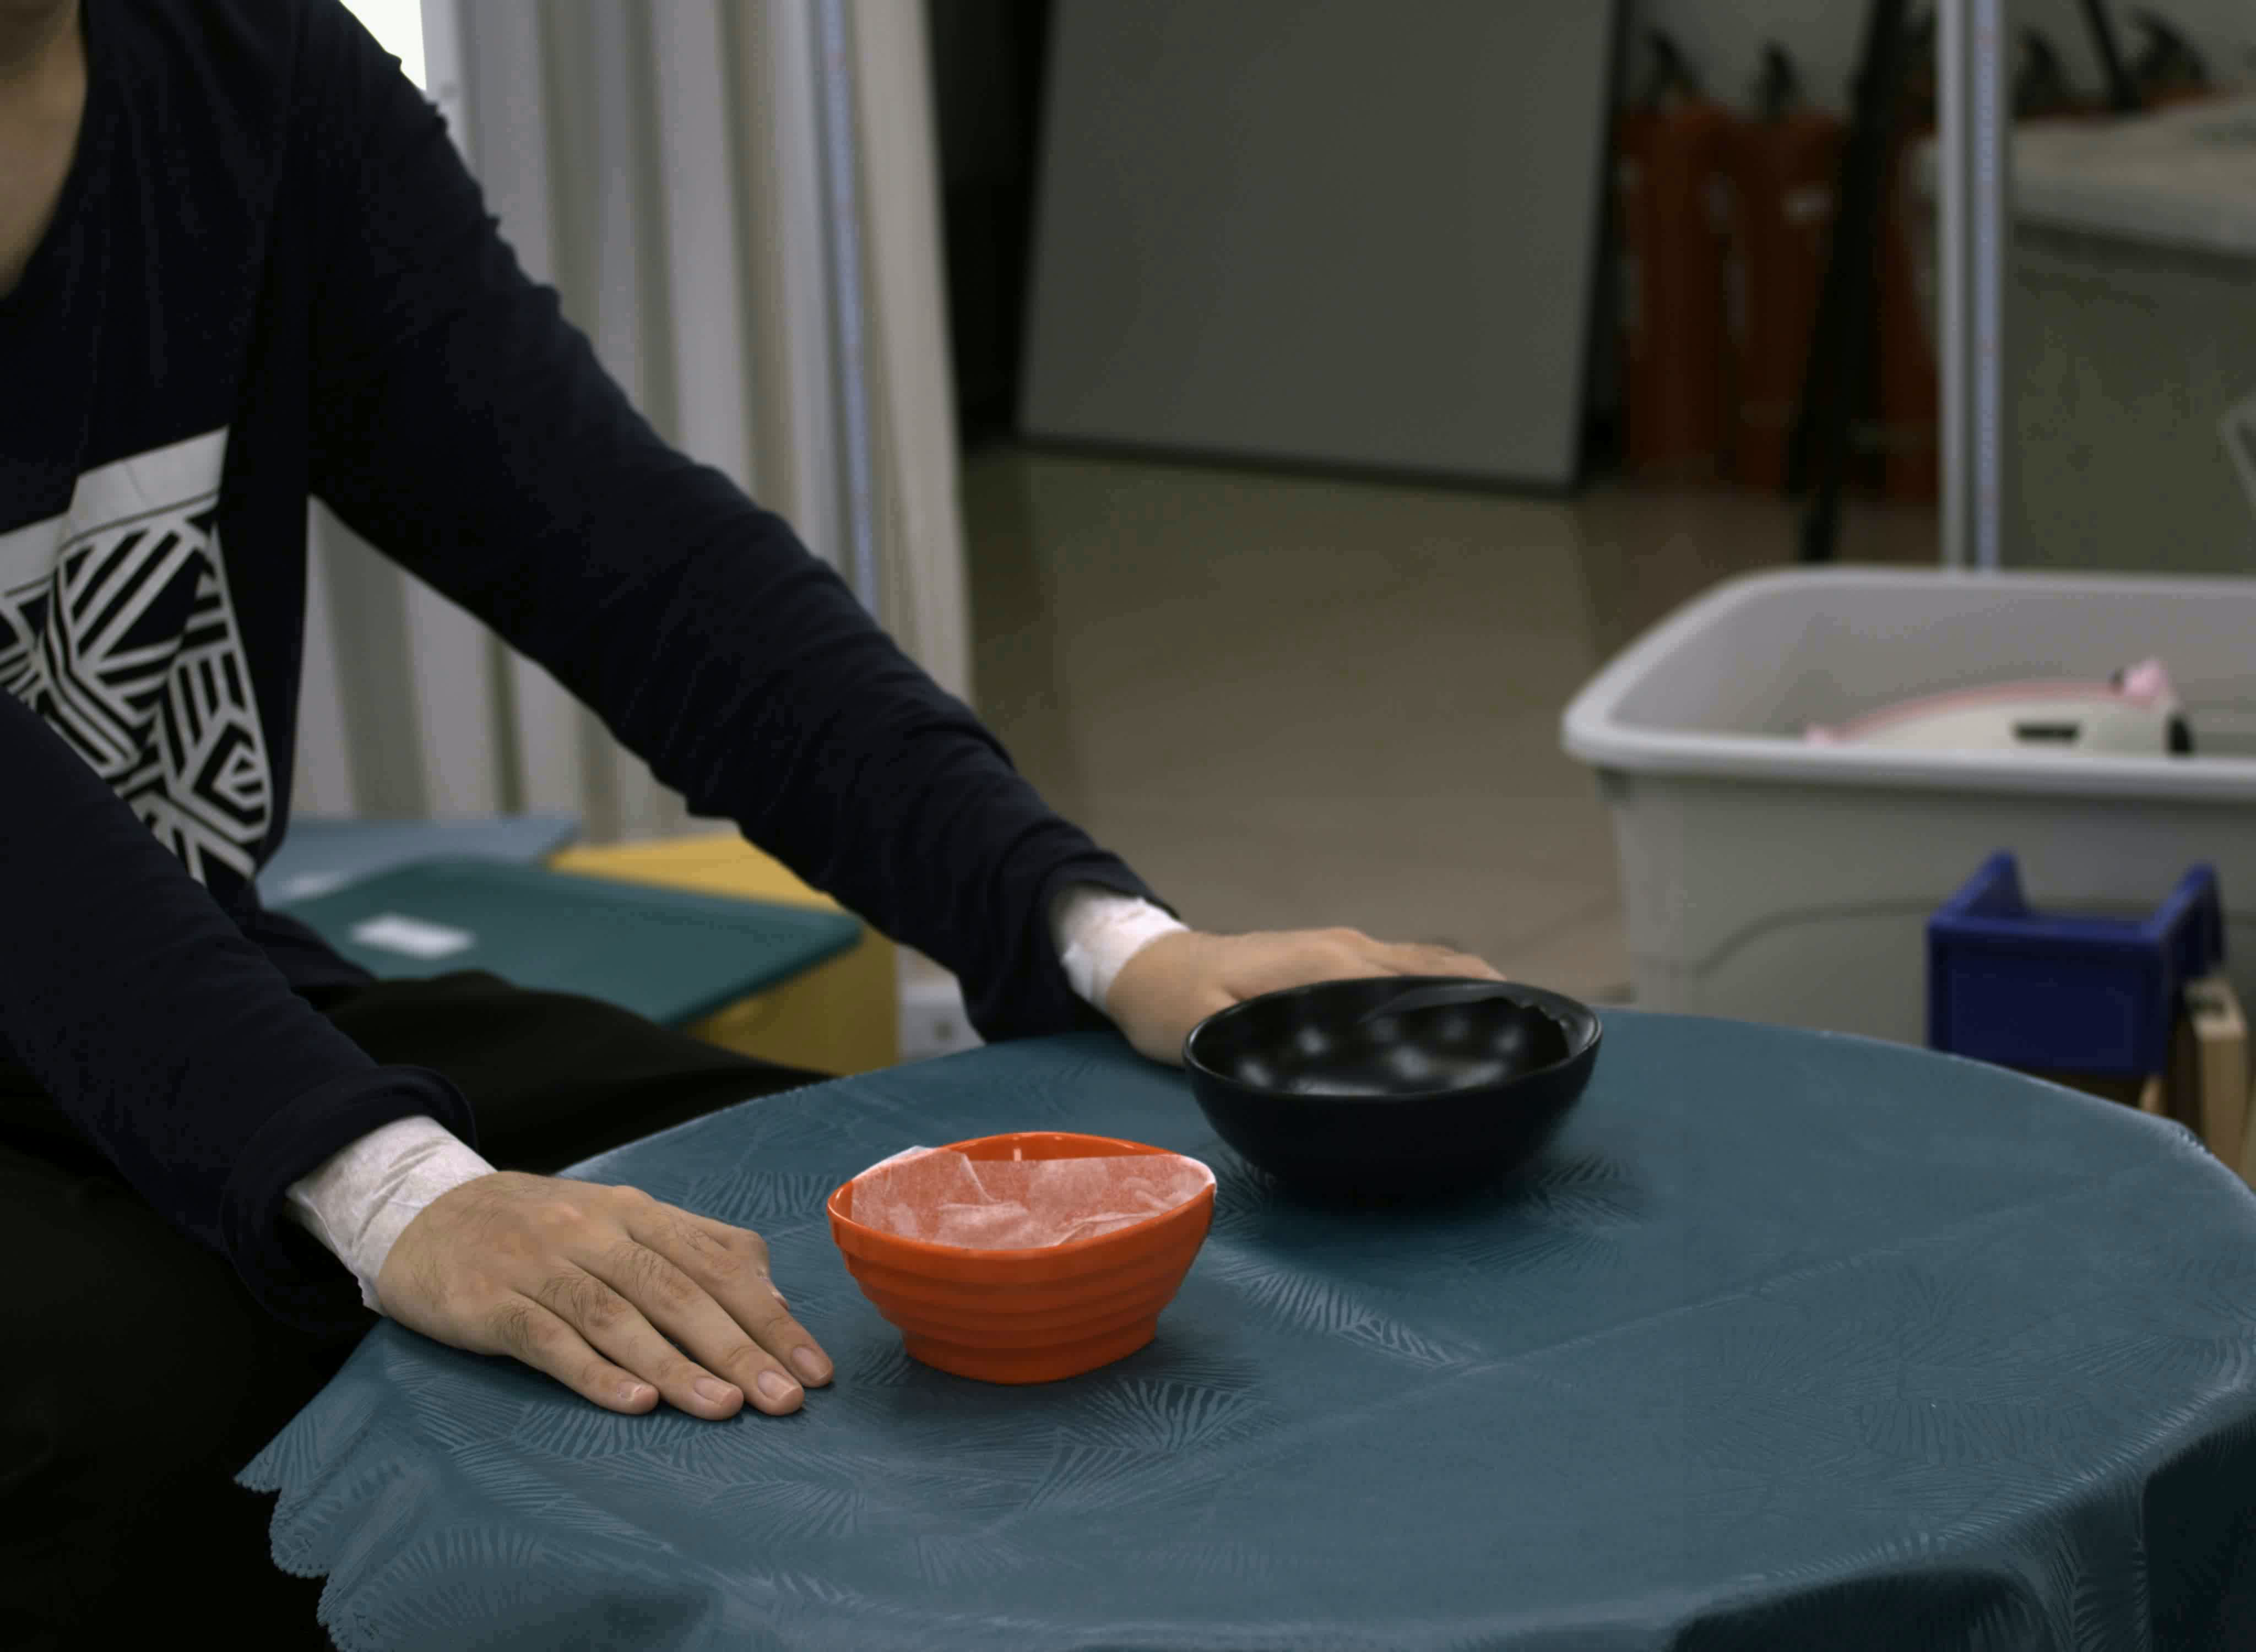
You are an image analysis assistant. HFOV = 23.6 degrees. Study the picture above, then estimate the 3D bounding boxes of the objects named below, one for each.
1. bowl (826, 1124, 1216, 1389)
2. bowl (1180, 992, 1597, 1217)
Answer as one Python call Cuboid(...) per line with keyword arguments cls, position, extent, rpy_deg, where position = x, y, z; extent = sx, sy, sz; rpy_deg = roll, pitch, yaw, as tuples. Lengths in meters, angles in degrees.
Cuboid(cls="bowl", position=(-0.031, 0.132, 1.628), extent=(0.117, 0.052, 0.119), rpy_deg=(-4, 15, 0))
Cuboid(cls="bowl", position=(0.088, 0.095, 1.767), extent=(0.138, 0.050, 0.140), rpy_deg=(-7, 10, 0))
